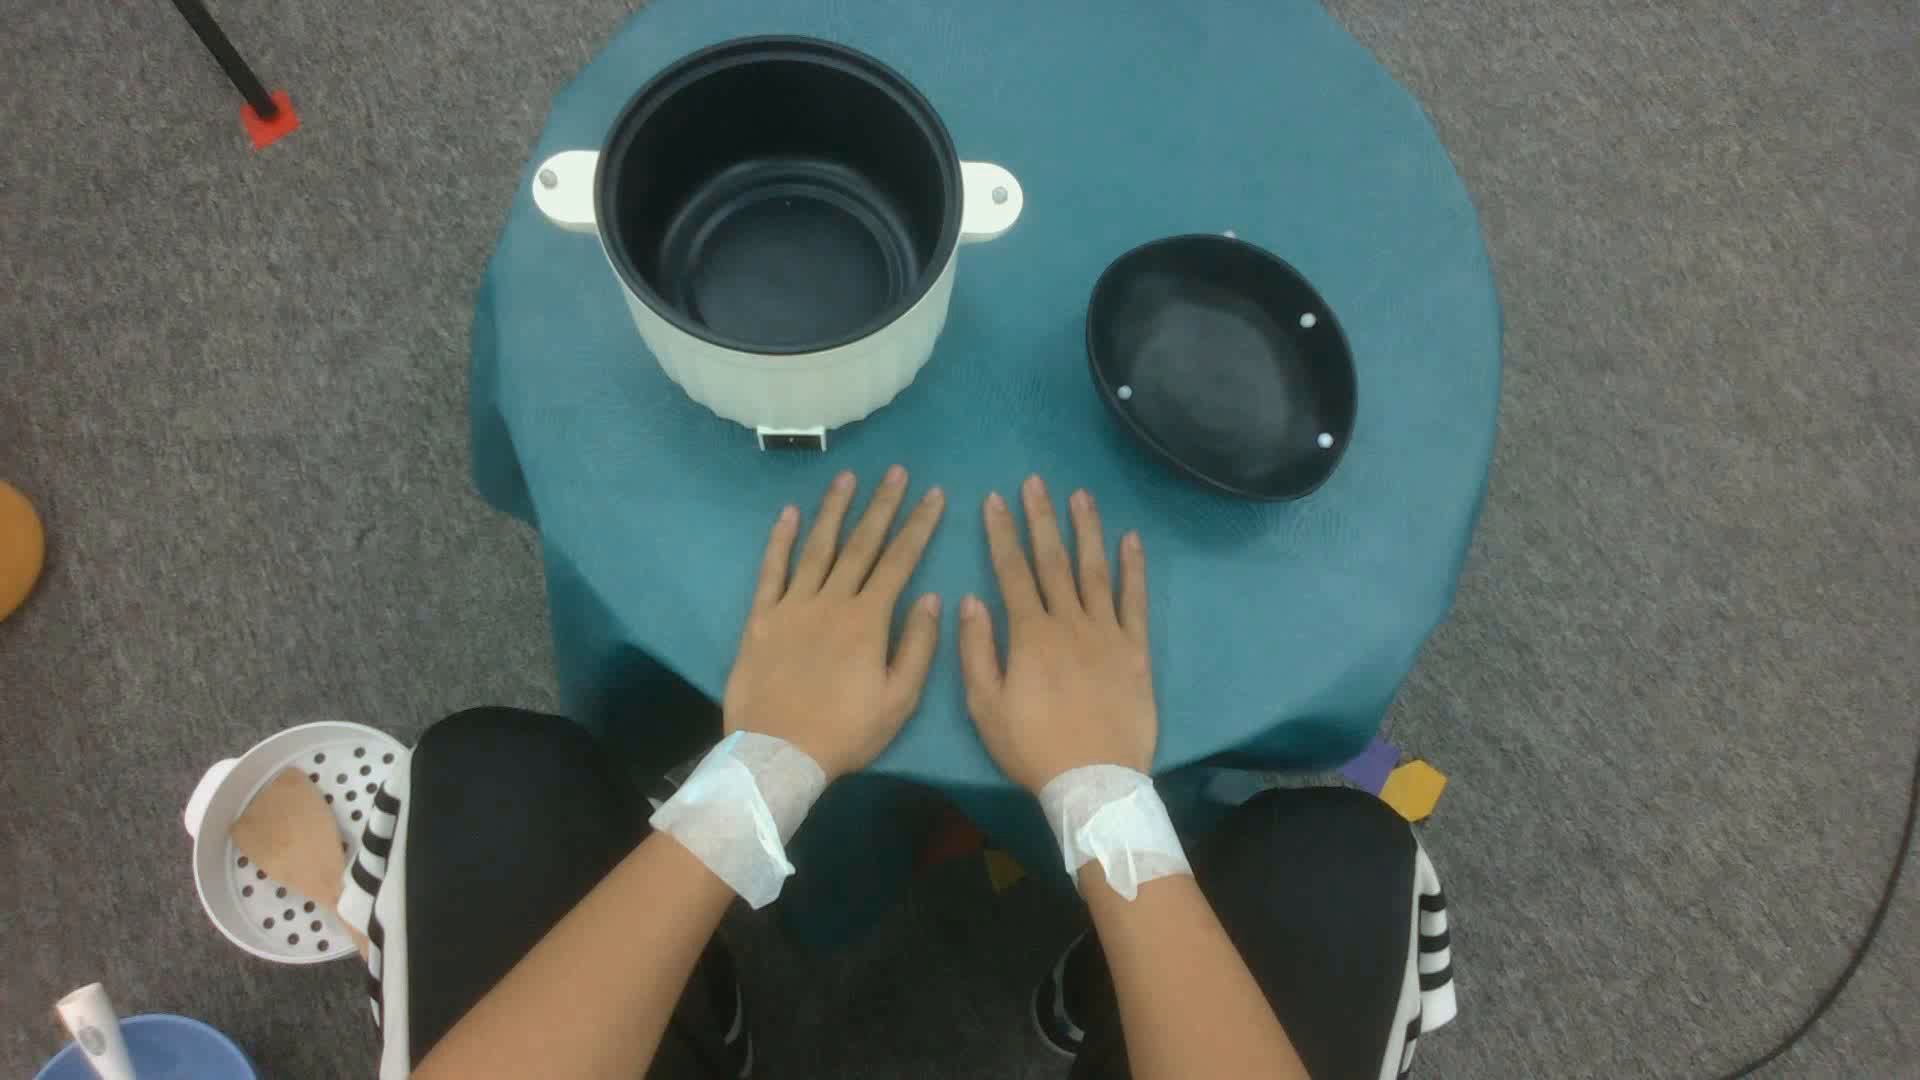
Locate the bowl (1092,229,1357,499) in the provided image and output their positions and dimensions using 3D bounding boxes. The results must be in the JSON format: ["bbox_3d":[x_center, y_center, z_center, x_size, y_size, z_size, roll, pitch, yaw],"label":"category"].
[{"bbox_3d":[0.147,-0.094,0.786,0.137,0.066,0.170,-37,78,-13],"label":"bowl"}]

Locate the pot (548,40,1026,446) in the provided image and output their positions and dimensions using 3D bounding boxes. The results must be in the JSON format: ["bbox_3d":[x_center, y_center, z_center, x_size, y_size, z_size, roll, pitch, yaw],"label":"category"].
[{"bbox_3d":[-0.090,-0.161,0.757,0.240,0.142,0.191,0,75,-4],"label":"pot"}]
